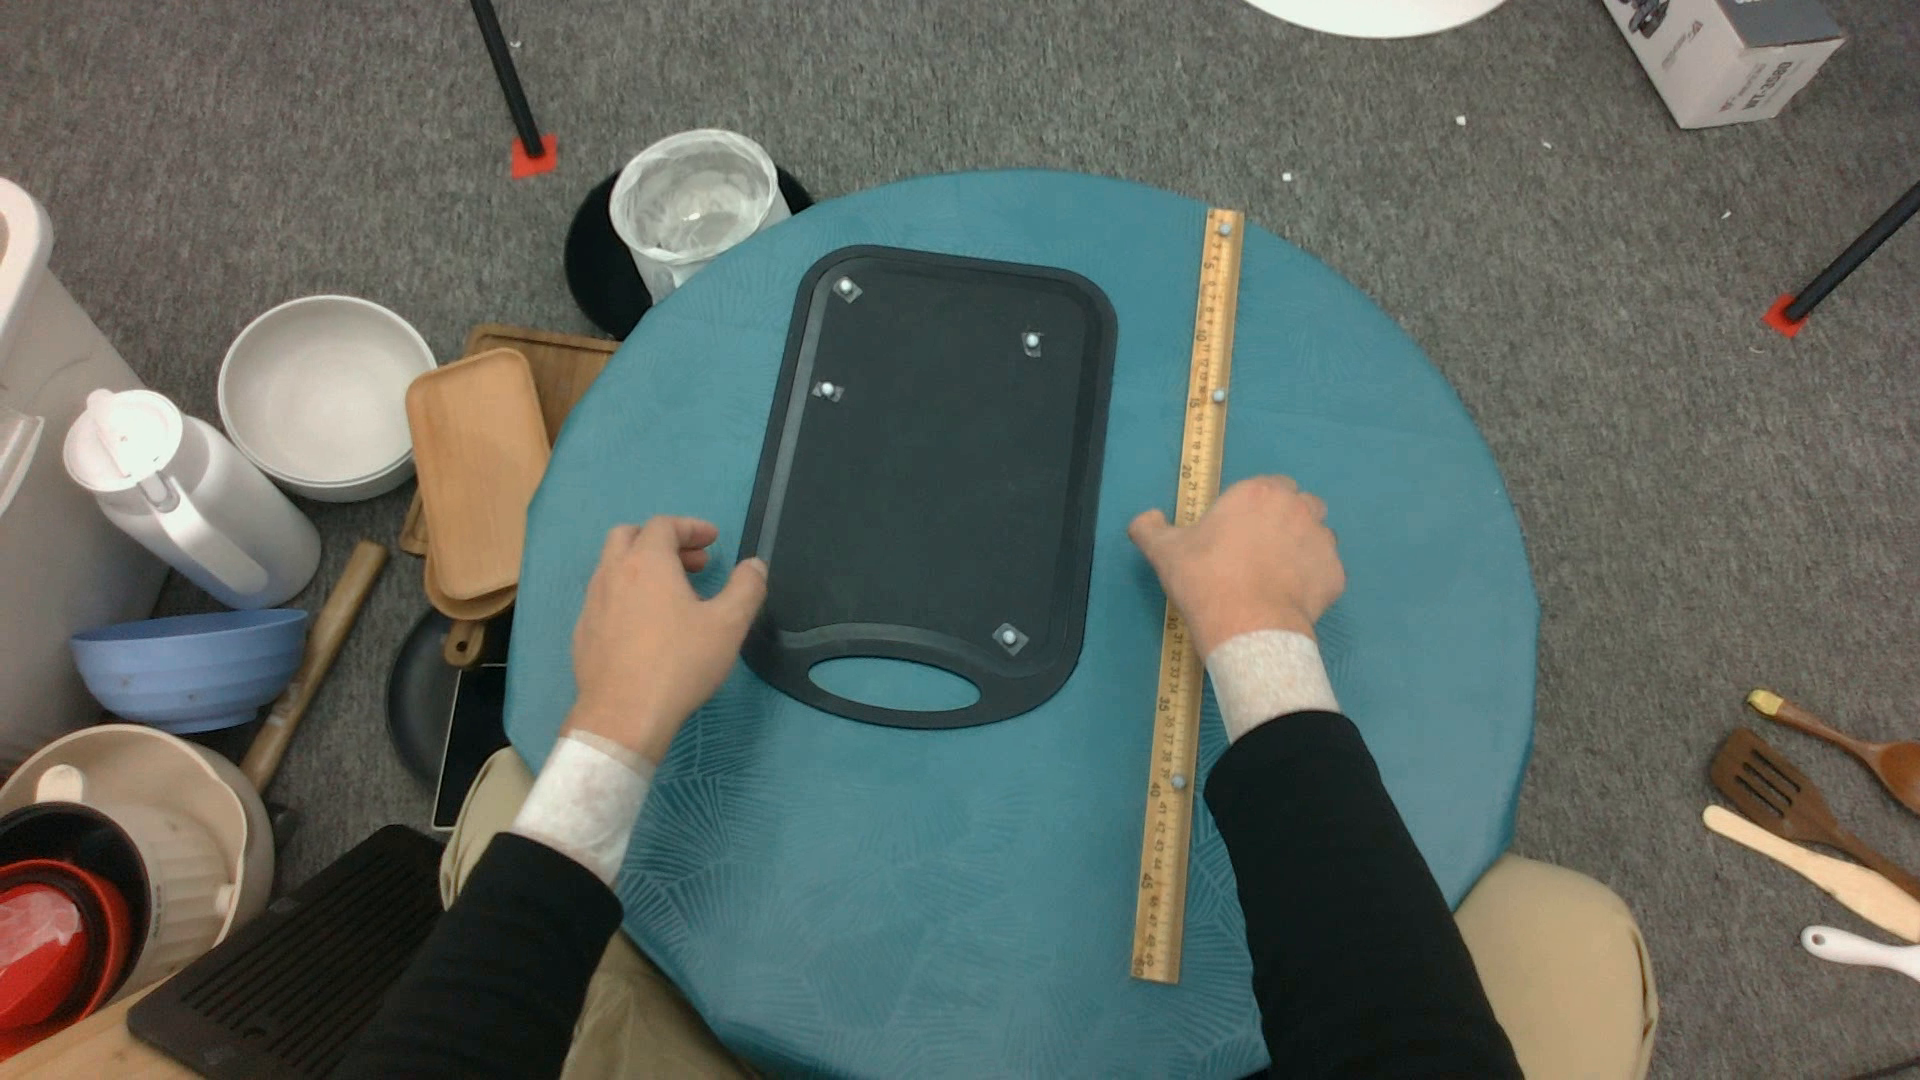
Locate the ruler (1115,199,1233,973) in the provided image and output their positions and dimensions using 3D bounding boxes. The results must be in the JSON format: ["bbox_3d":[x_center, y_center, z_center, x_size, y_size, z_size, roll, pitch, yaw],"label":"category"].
[{"bbox_3d":[0.132,-0.001,0.821,0.027,0.006,0.502,7,66,5],"label":"ruler"}]

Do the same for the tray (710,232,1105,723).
[{"bbox_3d":[-0.027,-0.047,0.836,0.211,0.010,0.326,8,66,2],"label":"tray"}]
